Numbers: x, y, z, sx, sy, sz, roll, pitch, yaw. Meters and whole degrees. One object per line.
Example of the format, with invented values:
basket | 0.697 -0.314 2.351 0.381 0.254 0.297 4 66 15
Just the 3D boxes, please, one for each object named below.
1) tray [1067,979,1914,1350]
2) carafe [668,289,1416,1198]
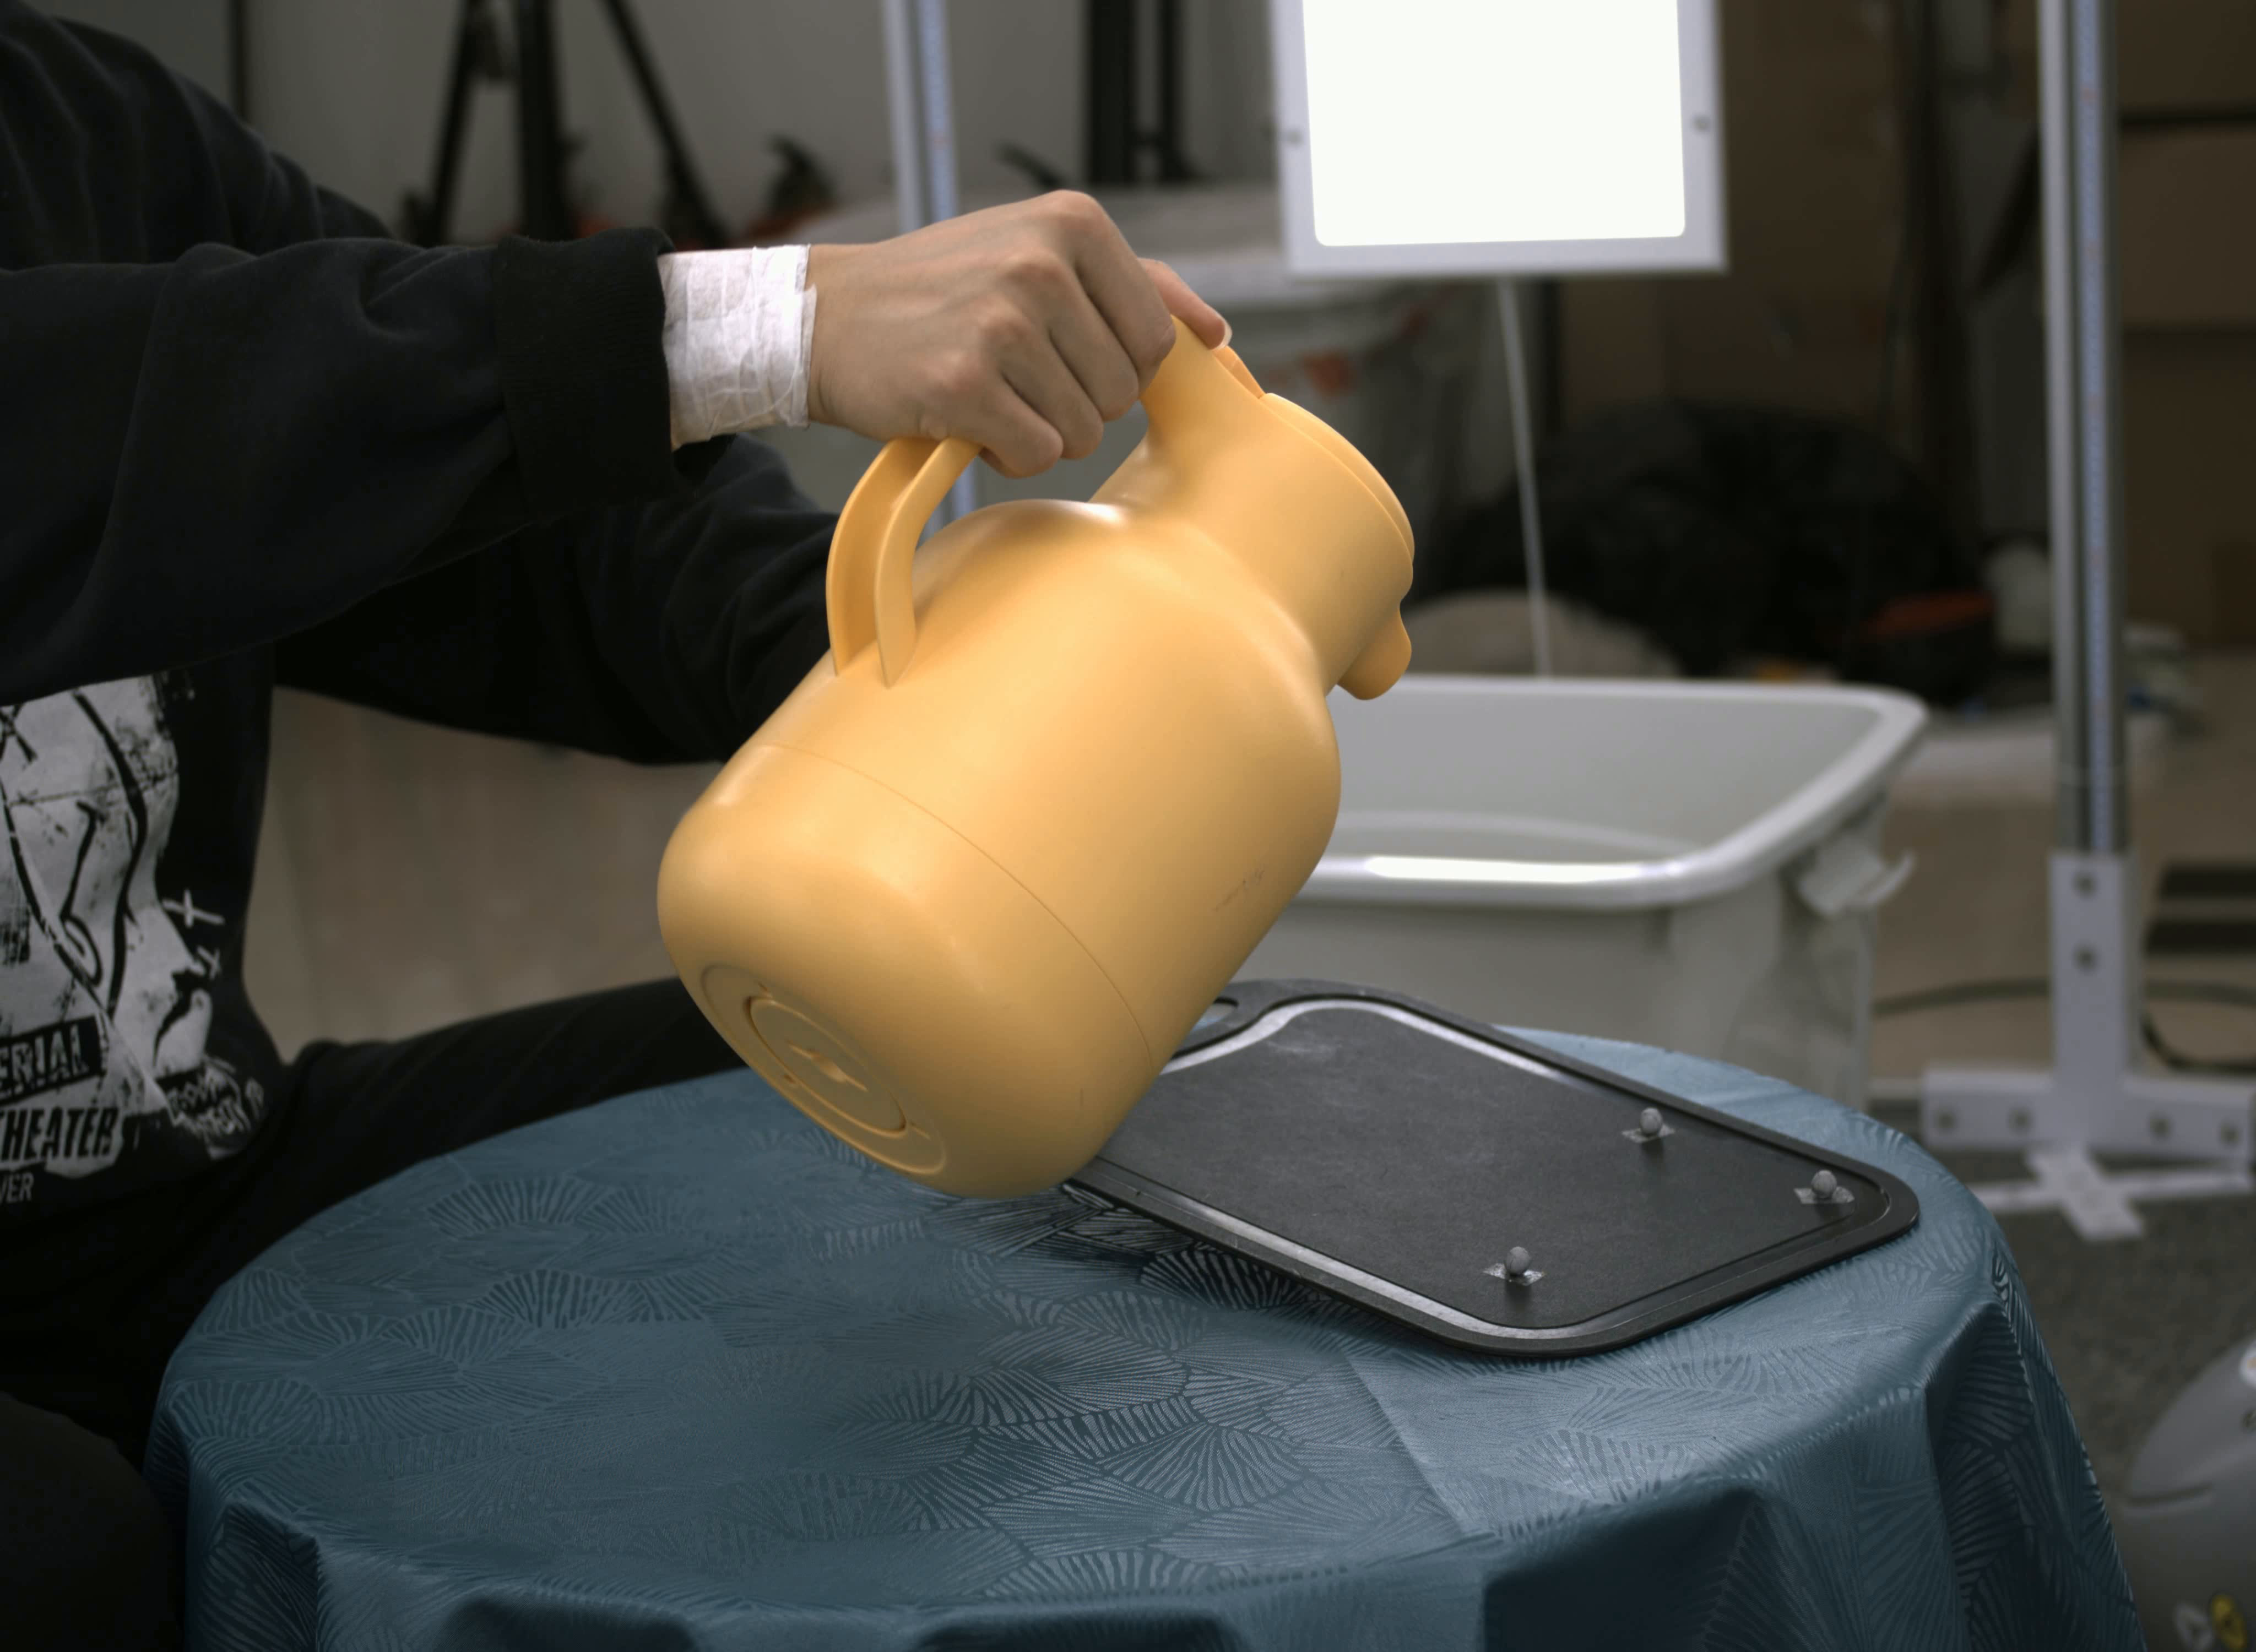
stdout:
tray | 0.093 0.106 1.856 0.206 0.010 0.332 -15 24 -38
carafe | -0.025 -0.035 1.695 0.167 0.200 0.257 8 53 51
